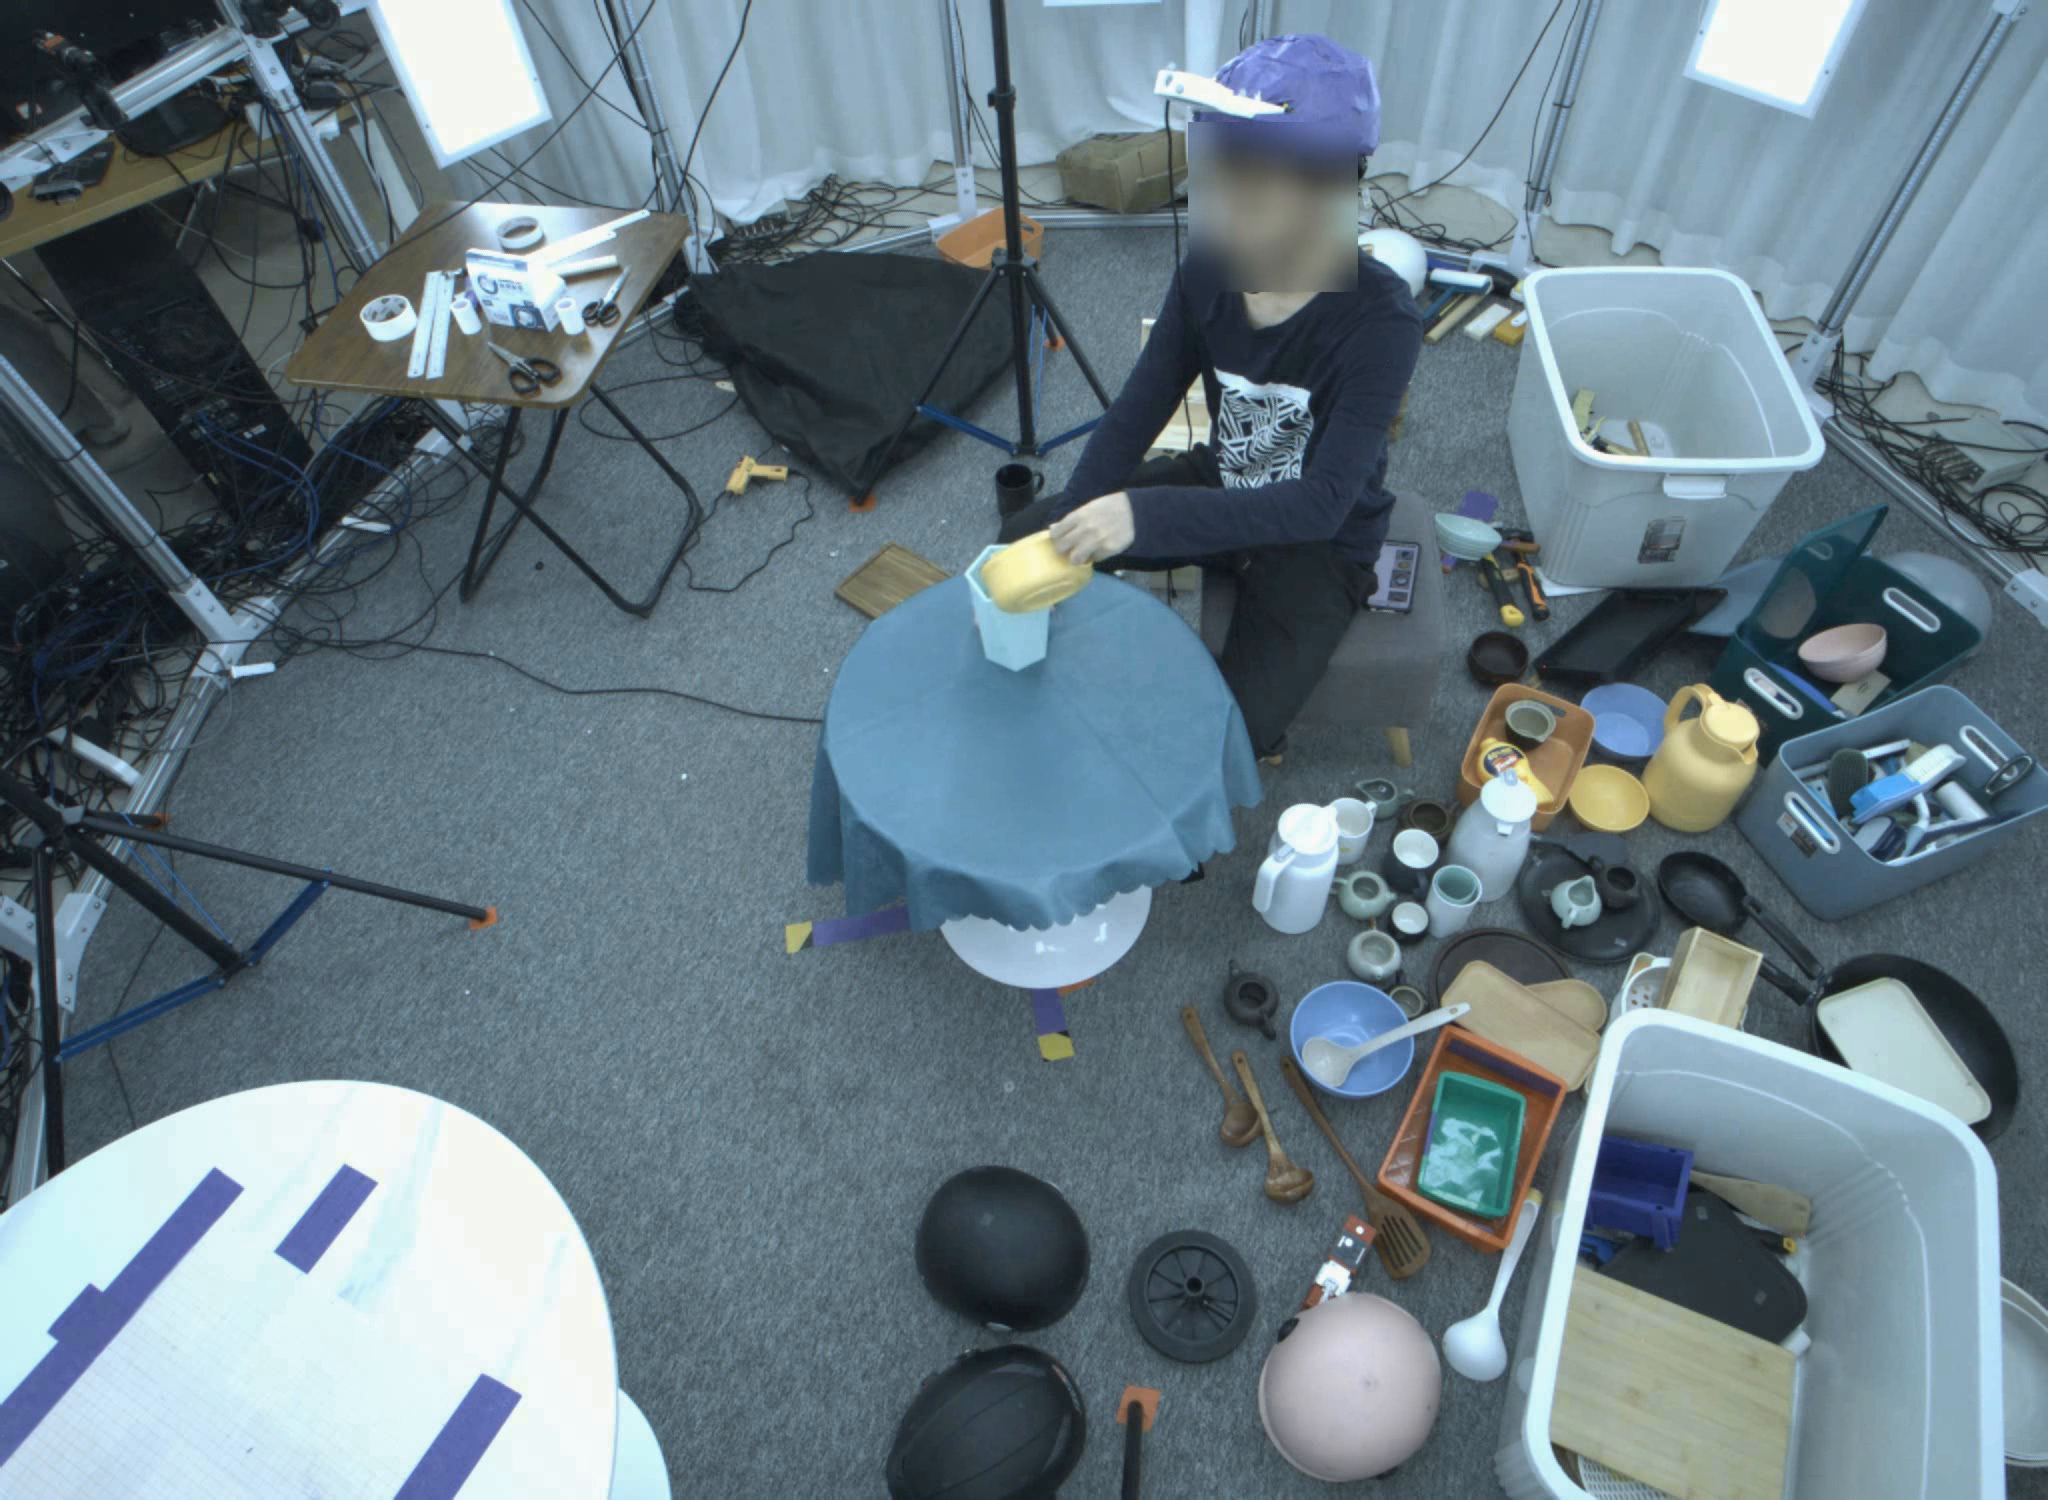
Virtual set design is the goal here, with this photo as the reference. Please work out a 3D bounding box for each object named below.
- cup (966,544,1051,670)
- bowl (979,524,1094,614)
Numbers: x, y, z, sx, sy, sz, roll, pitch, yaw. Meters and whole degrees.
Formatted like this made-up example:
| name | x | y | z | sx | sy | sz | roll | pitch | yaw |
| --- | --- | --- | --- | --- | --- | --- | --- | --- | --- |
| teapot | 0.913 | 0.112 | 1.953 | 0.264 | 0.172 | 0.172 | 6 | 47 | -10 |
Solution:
| name | x | y | z | sx | sy | sz | roll | pitch | yaw |
| --- | --- | --- | --- | --- | --- | --- | --- | --- | --- |
| cup | -0.016 | -0.209 | 1.828 | 0.116 | 0.164 | 0.128 | -27 | 58 | -16 |
| bowl | 0.027 | -0.240 | 1.638 | 0.156 | 0.177 | 0.074 | -10 | 77 | -35 |
